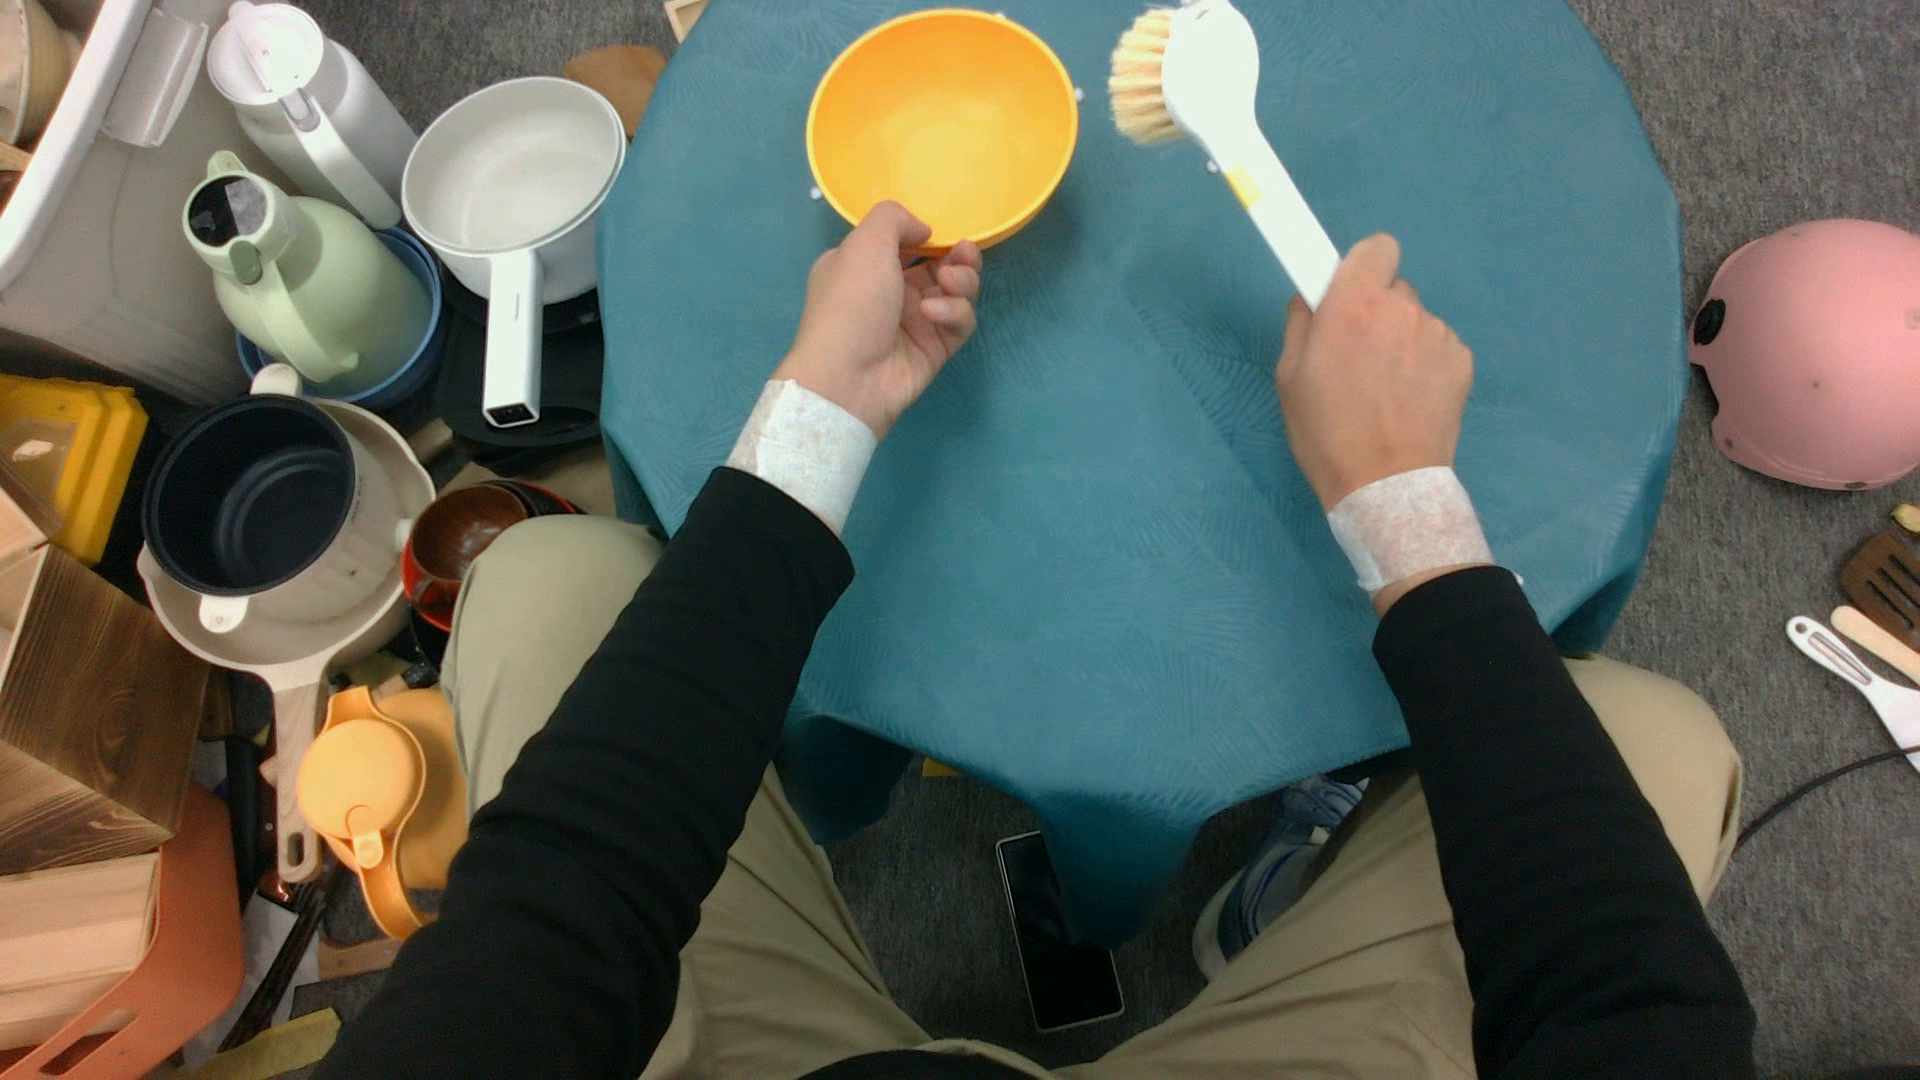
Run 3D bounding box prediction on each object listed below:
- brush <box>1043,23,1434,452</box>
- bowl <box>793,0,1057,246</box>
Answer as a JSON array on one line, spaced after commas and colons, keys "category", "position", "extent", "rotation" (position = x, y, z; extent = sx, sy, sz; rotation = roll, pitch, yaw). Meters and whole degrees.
[{"category": "brush", "position": [0.141, -0.145, 0.697], "extent": [0.068, 0.056, 0.266], "rotation": [-45, 101, -14]}, {"category": "bowl", "position": [-0.015, -0.218, 0.757], "extent": [0.145, 0.060, 0.145], "rotation": [-2, 74, 7]}]
